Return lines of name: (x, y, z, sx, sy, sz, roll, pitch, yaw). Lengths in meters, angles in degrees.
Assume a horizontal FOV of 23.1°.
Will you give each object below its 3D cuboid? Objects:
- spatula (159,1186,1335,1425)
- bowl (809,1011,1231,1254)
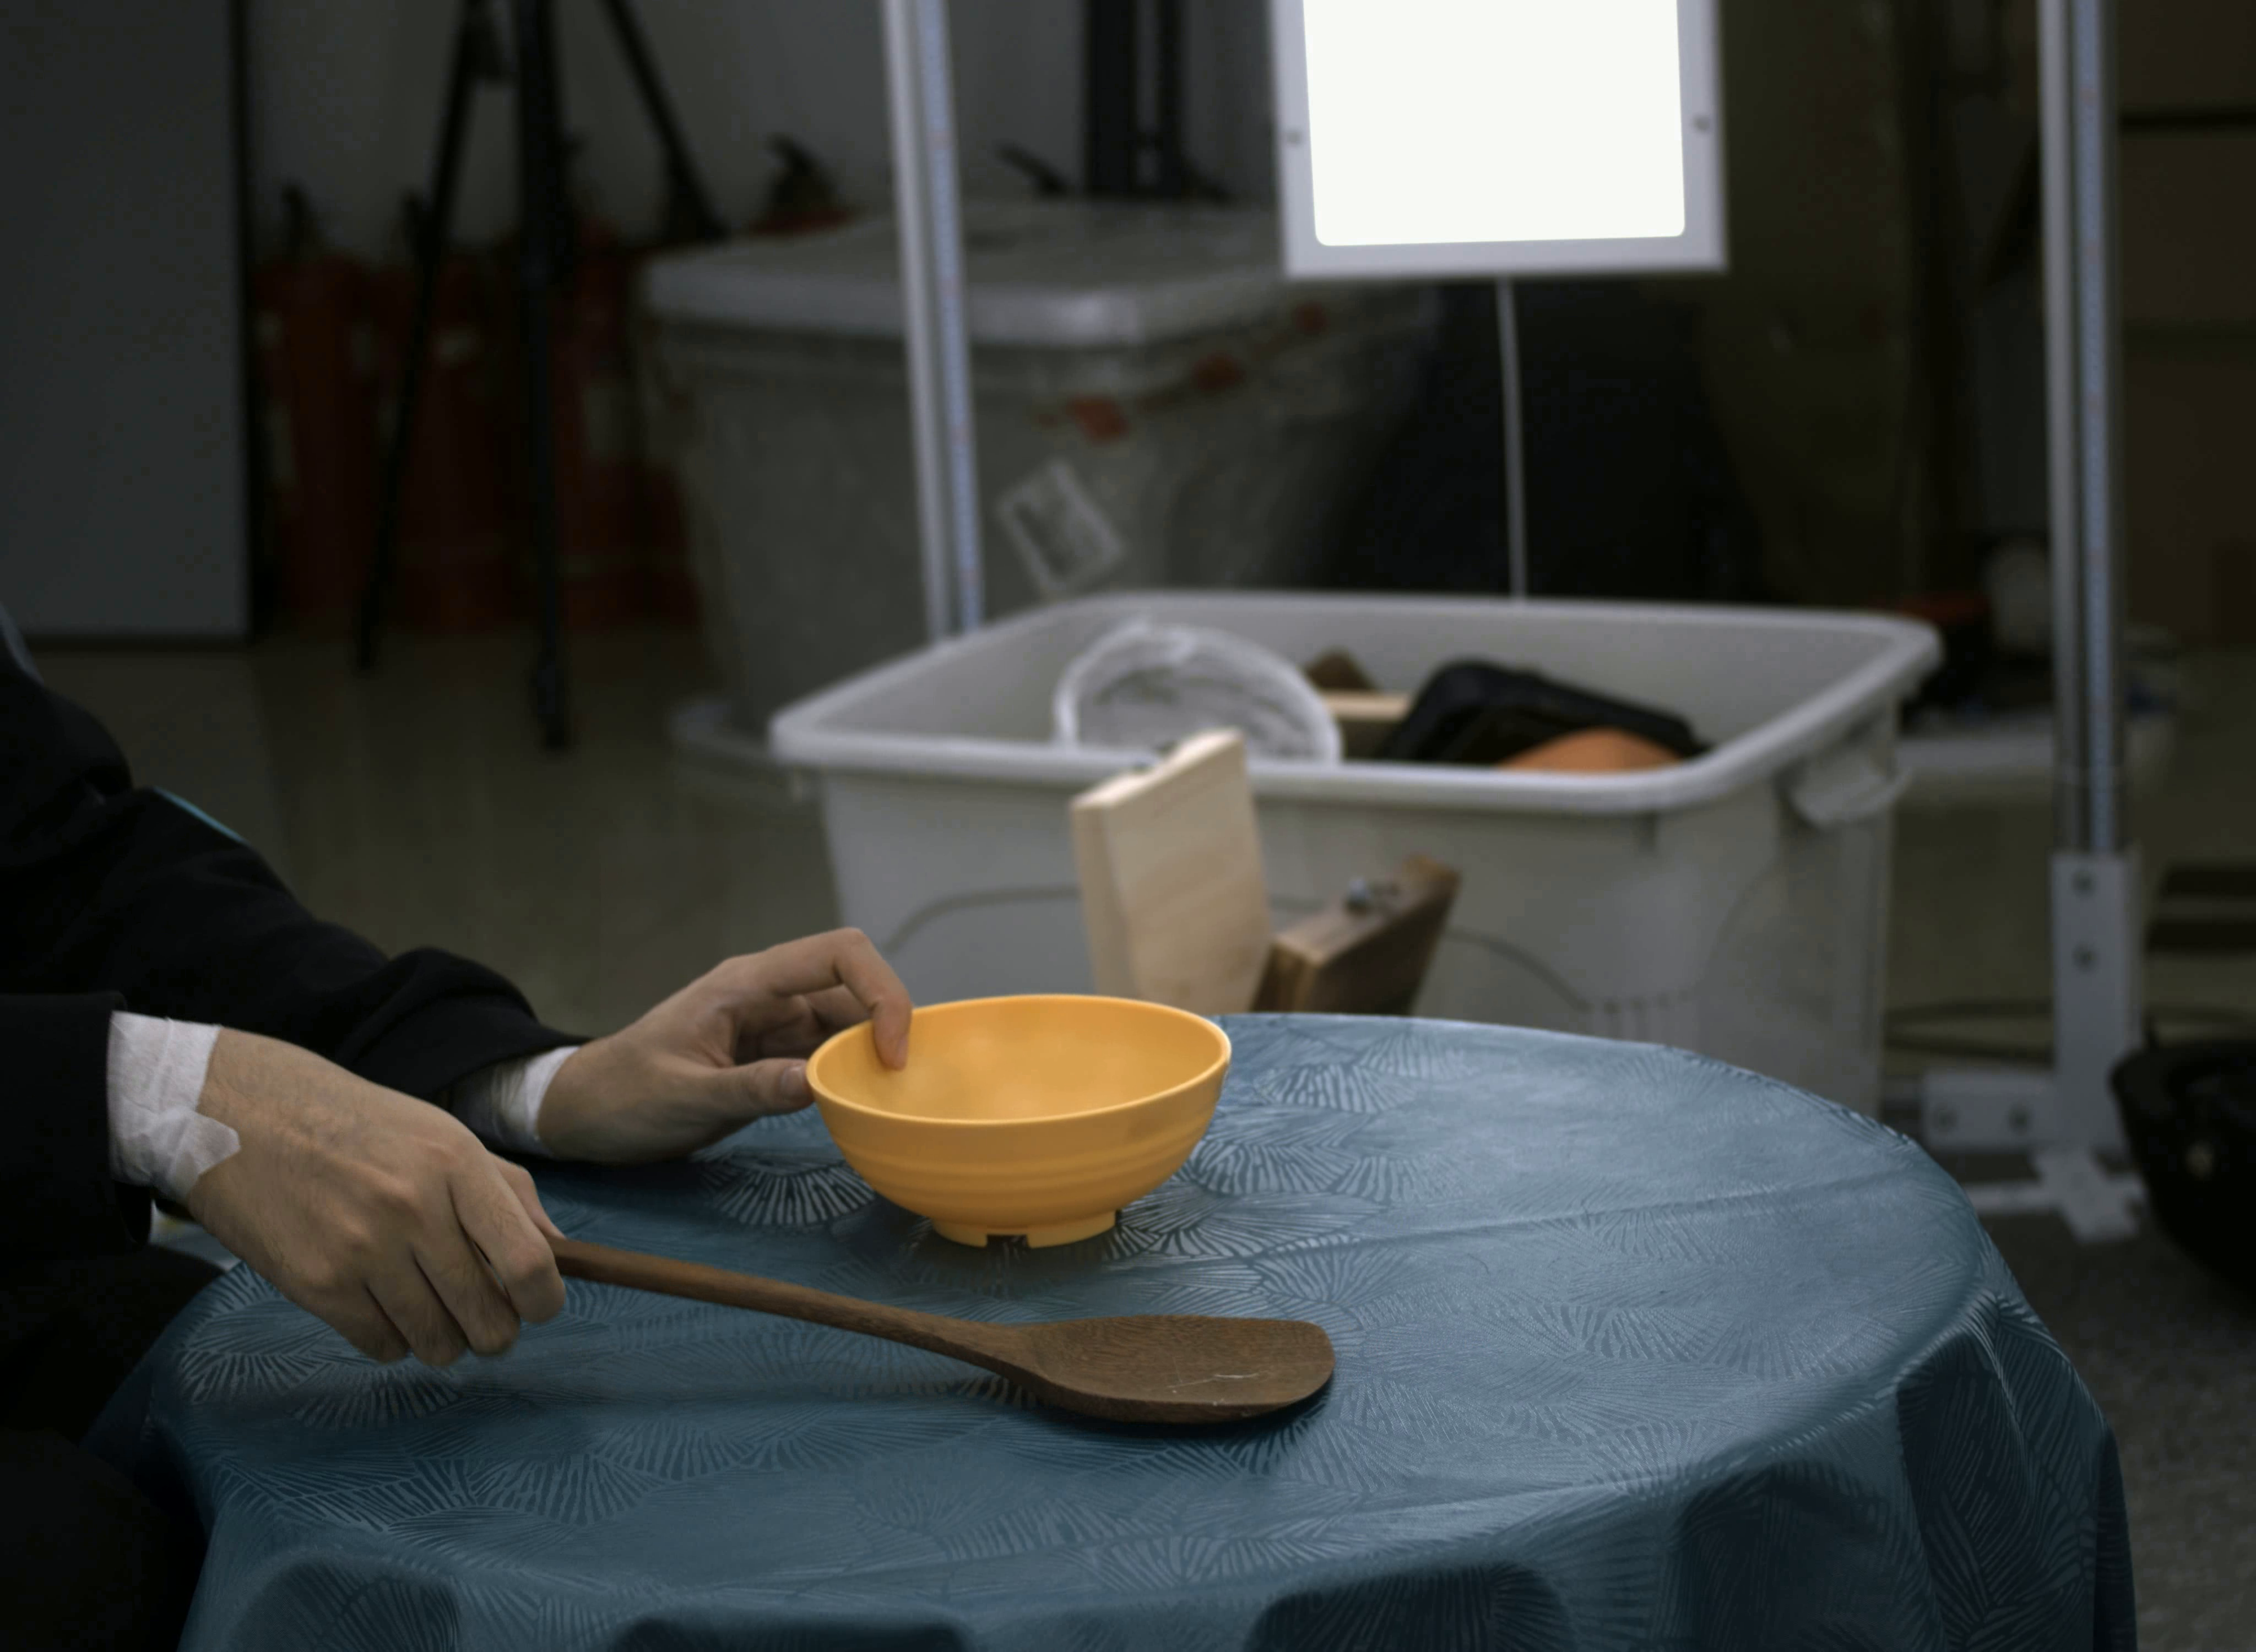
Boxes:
spatula: (-0.124, 0.147, 1.733, 0.389, 0.016, 0.095, 8, 14, 14)
bowl: (-0.035, 0.107, 1.869, 0.145, 0.060, 0.145, -4, 12, 0)
